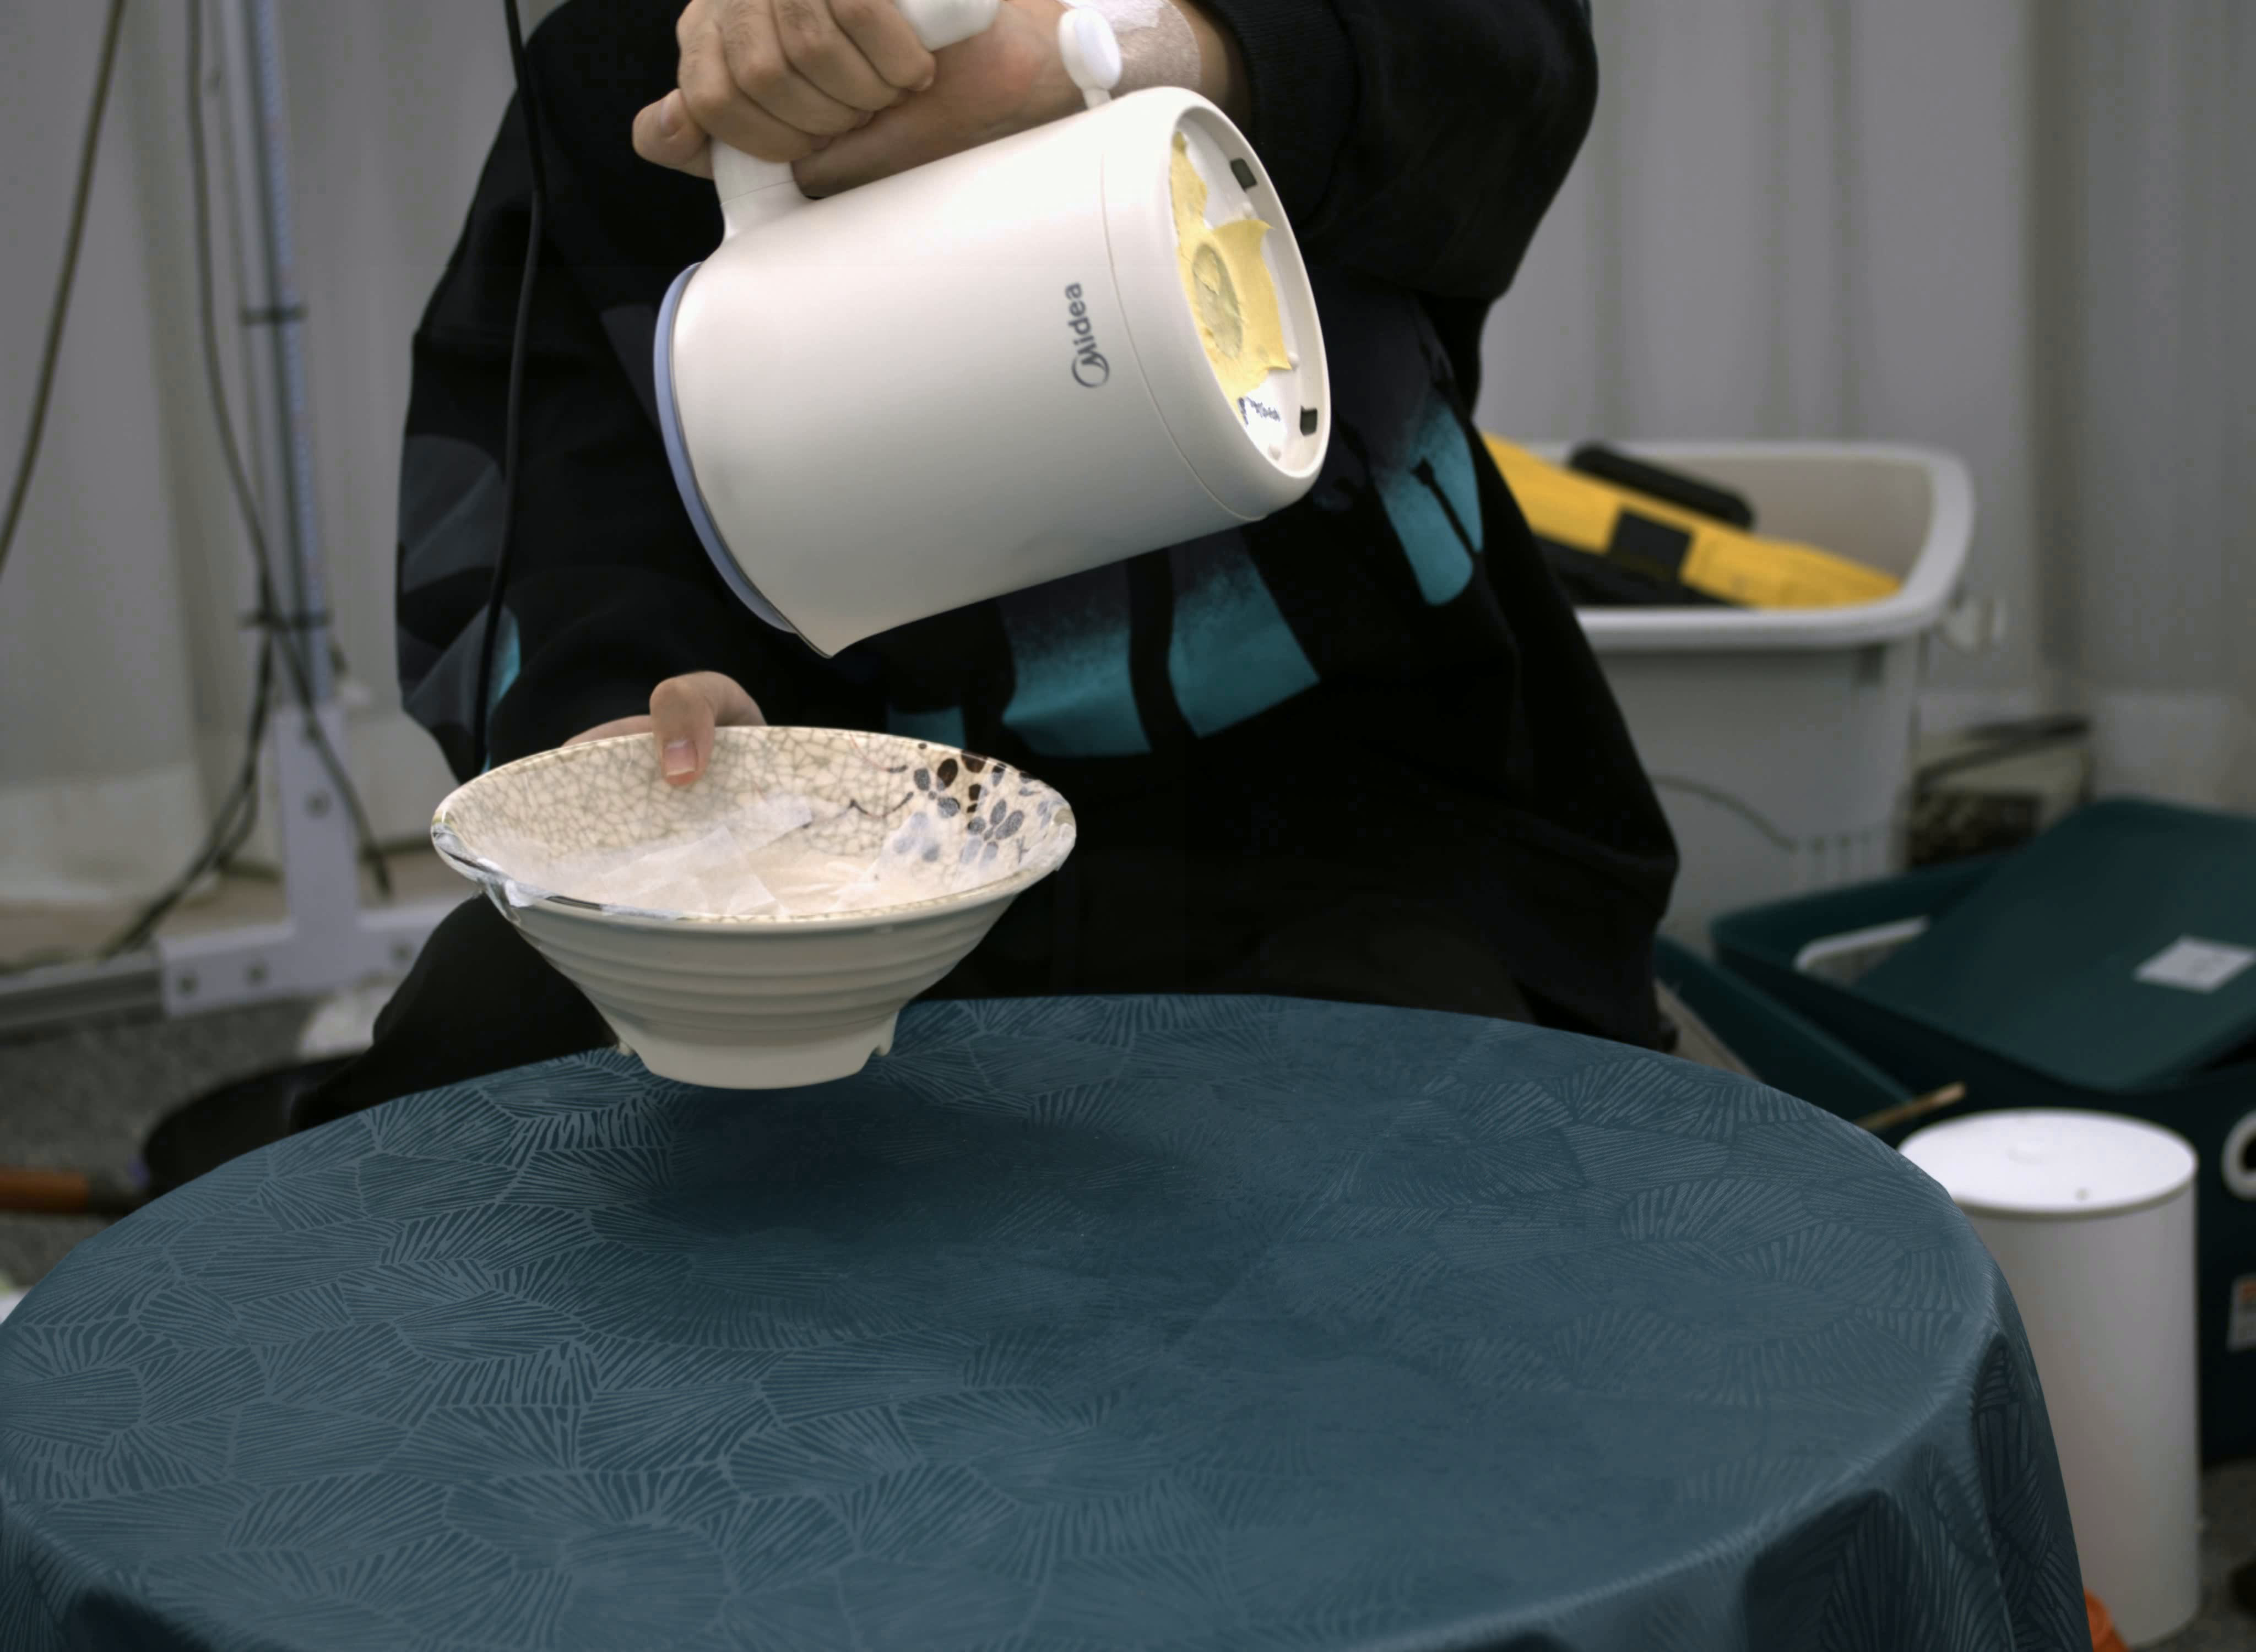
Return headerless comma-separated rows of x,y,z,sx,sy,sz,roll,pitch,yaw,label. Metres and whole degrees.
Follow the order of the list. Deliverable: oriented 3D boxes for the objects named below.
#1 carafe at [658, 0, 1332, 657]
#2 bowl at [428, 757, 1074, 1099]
-0.045,-0.161,1.651,0.182,0.191,0.132,-13,2,20,carafe
-0.120,0.038,1.730,0.203,0.078,0.205,2,13,-1,bowl
